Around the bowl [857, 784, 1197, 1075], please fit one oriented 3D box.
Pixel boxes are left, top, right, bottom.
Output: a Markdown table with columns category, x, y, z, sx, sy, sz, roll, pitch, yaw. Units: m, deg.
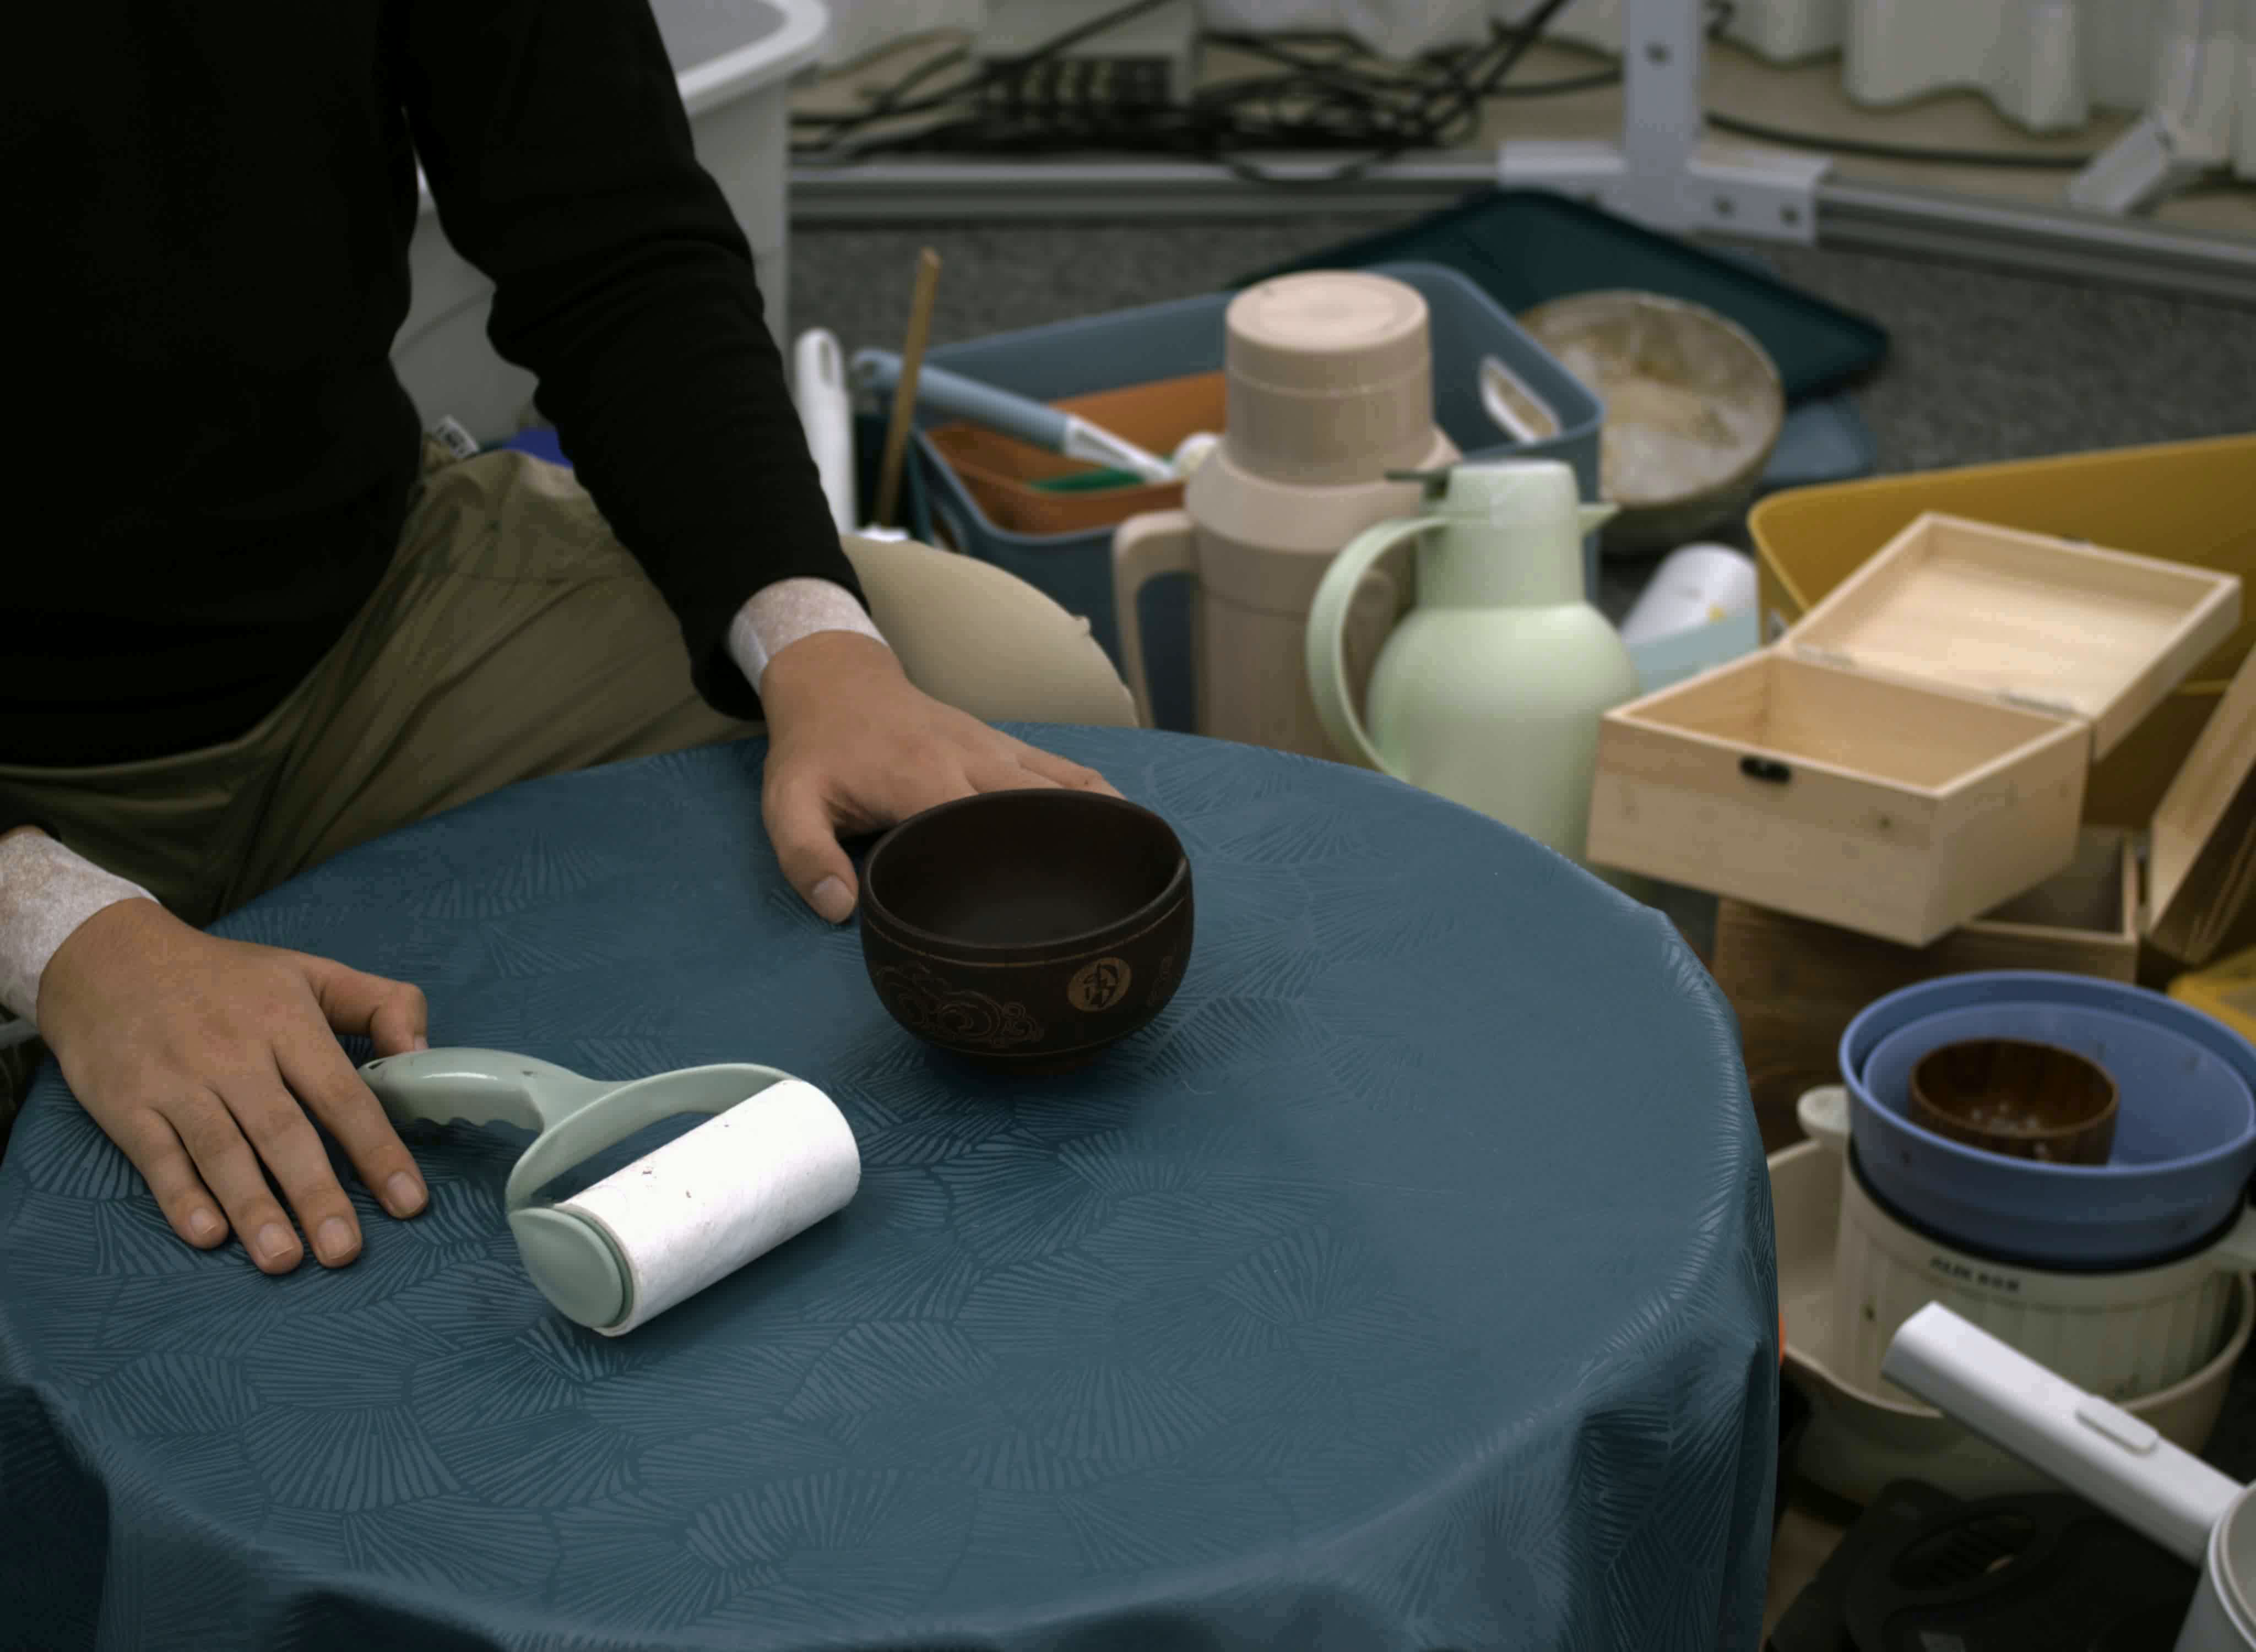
| category | x | y | z | sx | sy | sz | roll | pitch | yaw |
| --- | --- | --- | --- | --- | --- | --- | --- | --- | --- |
| bowl | -0.034 | 0.042 | 1.941 | 0.117 | 0.069 | 0.120 | -3 | 27 | 2 |

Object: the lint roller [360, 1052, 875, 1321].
| category | x | y | z | sx | sy | sz | roll | pitch | yaw |
| --- | --- | --- | --- | --- | --- | --- | --- | --- | --- |
| lint roller | -0.186 | 0.101 | 1.871 | 0.197 | 0.048 | 0.118 | 19 | 35 | 39 |
